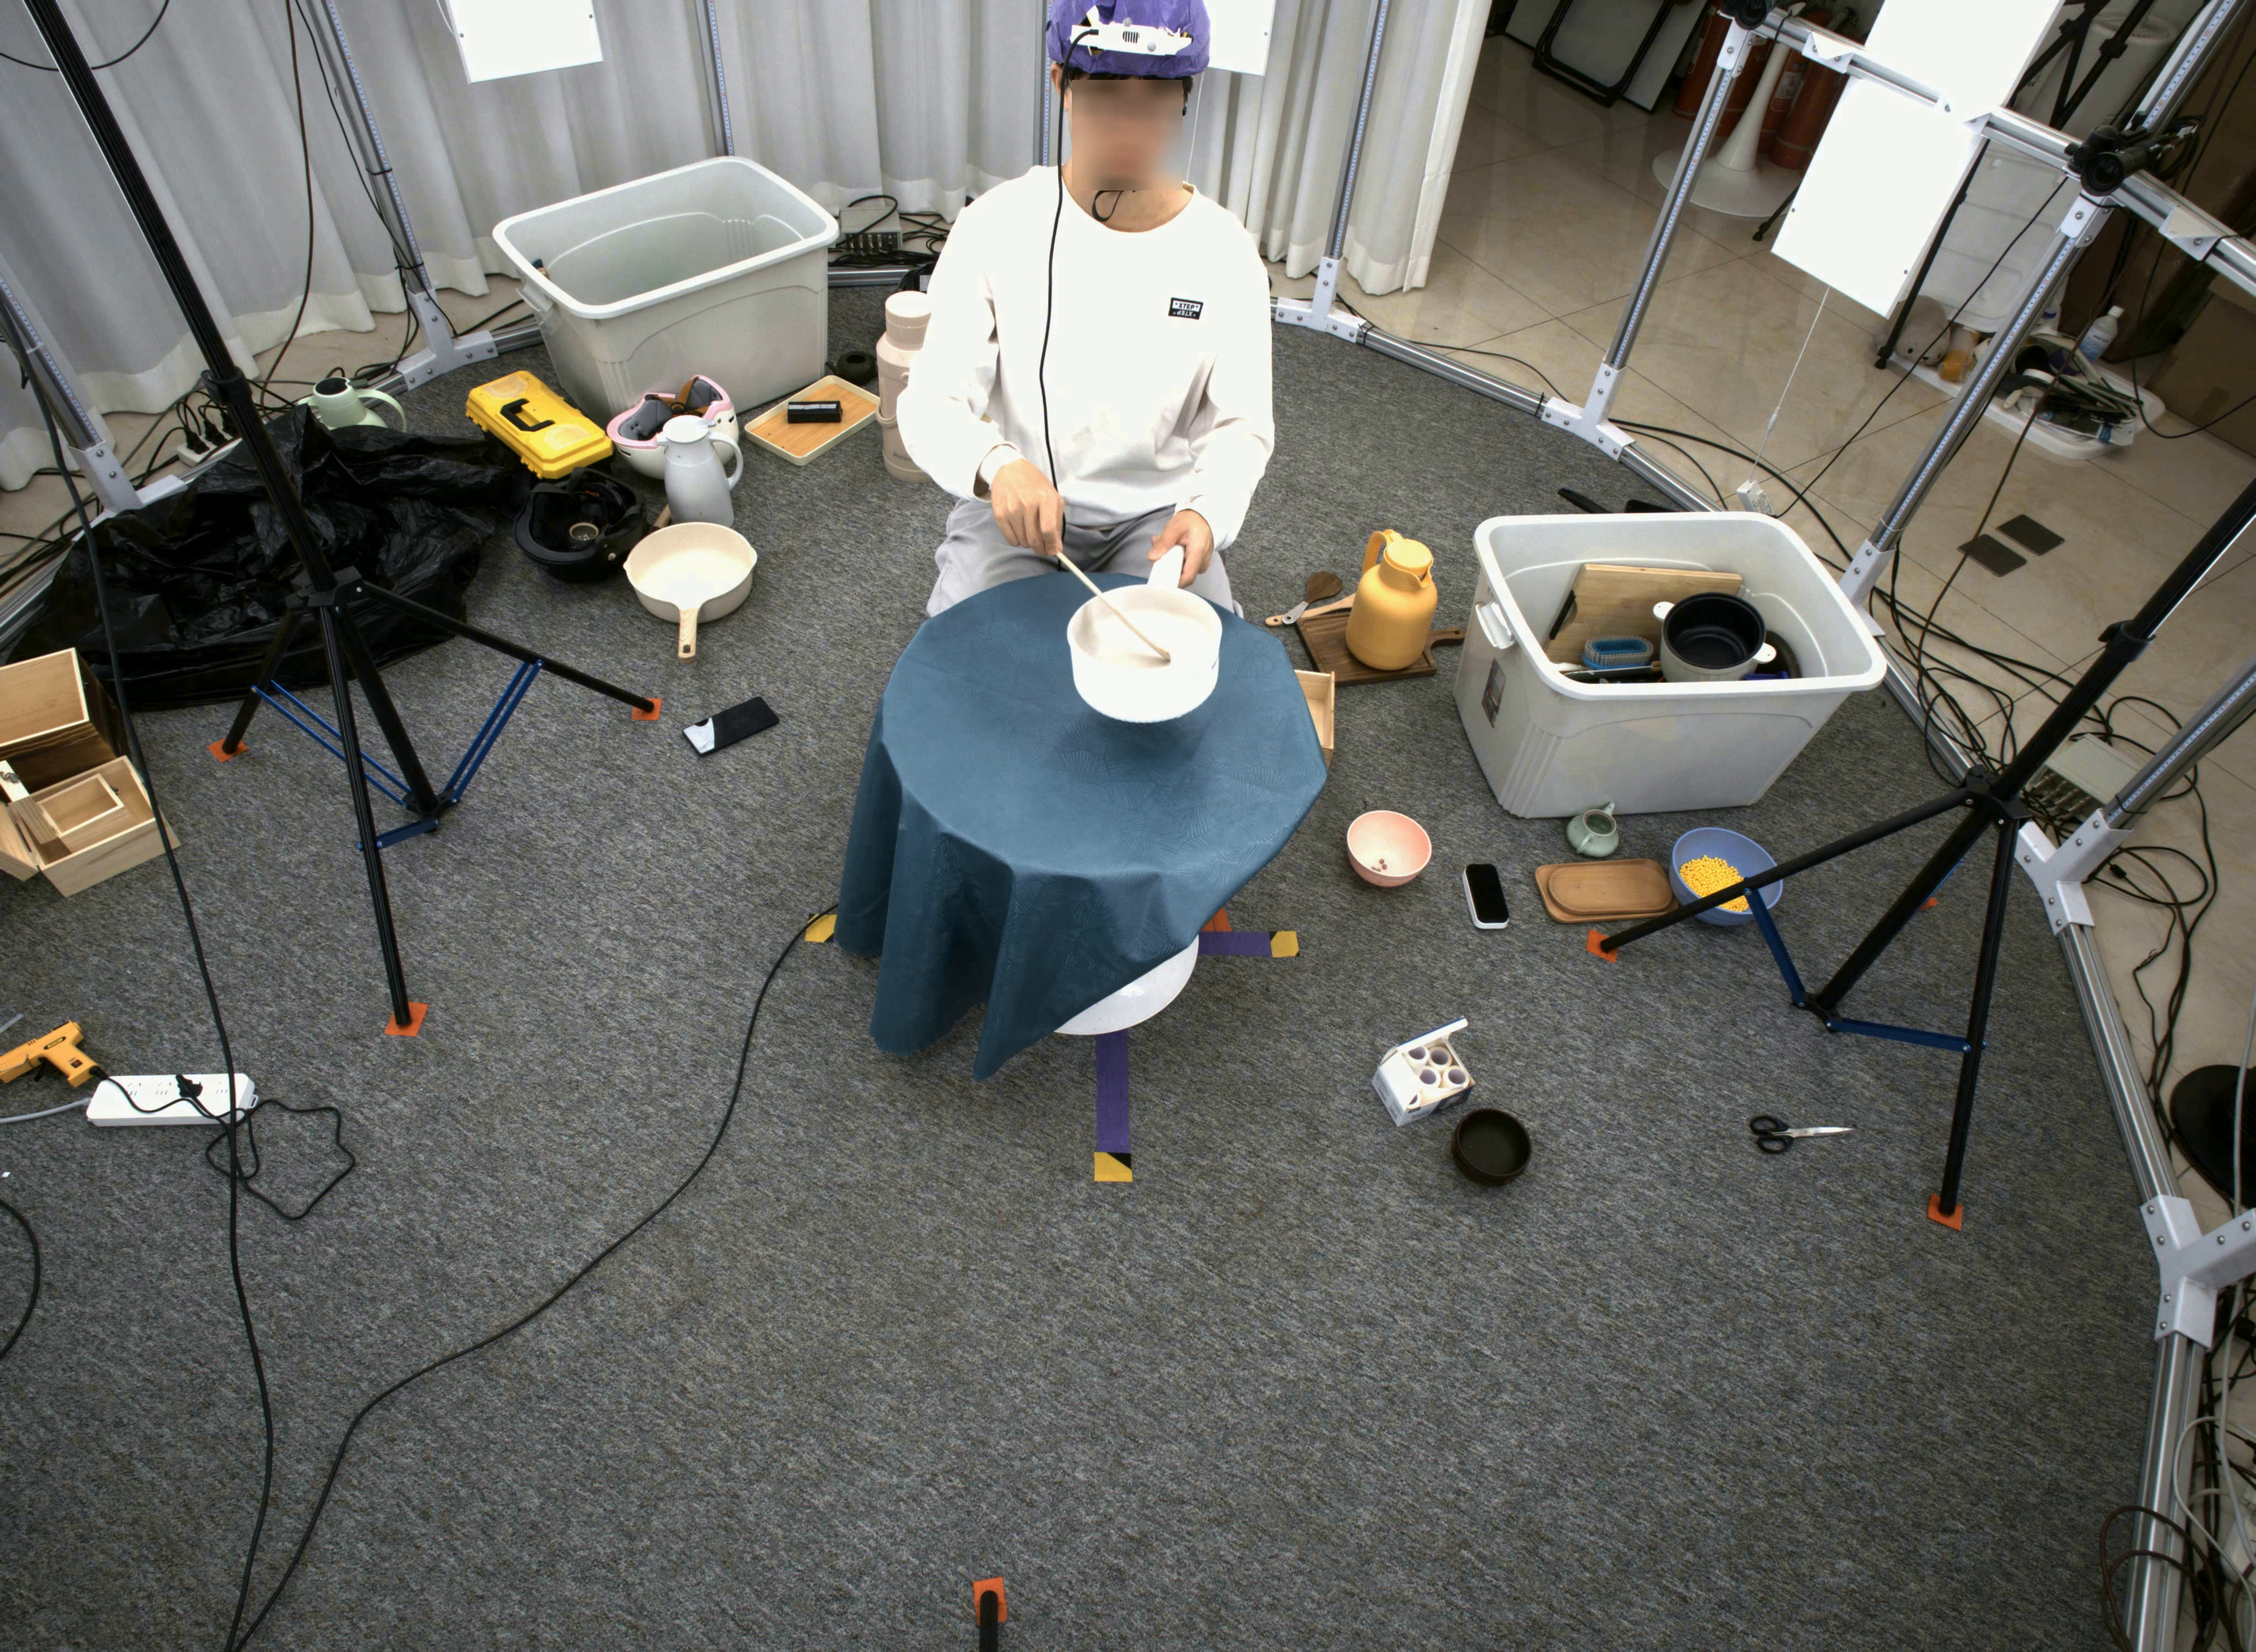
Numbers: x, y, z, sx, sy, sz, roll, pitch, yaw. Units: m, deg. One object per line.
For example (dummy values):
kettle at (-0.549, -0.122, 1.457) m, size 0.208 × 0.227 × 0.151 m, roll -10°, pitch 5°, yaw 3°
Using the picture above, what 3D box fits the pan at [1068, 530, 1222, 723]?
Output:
pan at (0.039, -0.275, 1.755) m, size 0.201 × 0.099 × 0.363 m, roll 5°, pitch 42°, yaw 11°

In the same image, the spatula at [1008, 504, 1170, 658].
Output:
spatula at (-0.053, -0.324, 1.695) m, size 0.294 × 0.072 × 0.010 m, roll 44°, pitch 94°, yaw 7°
